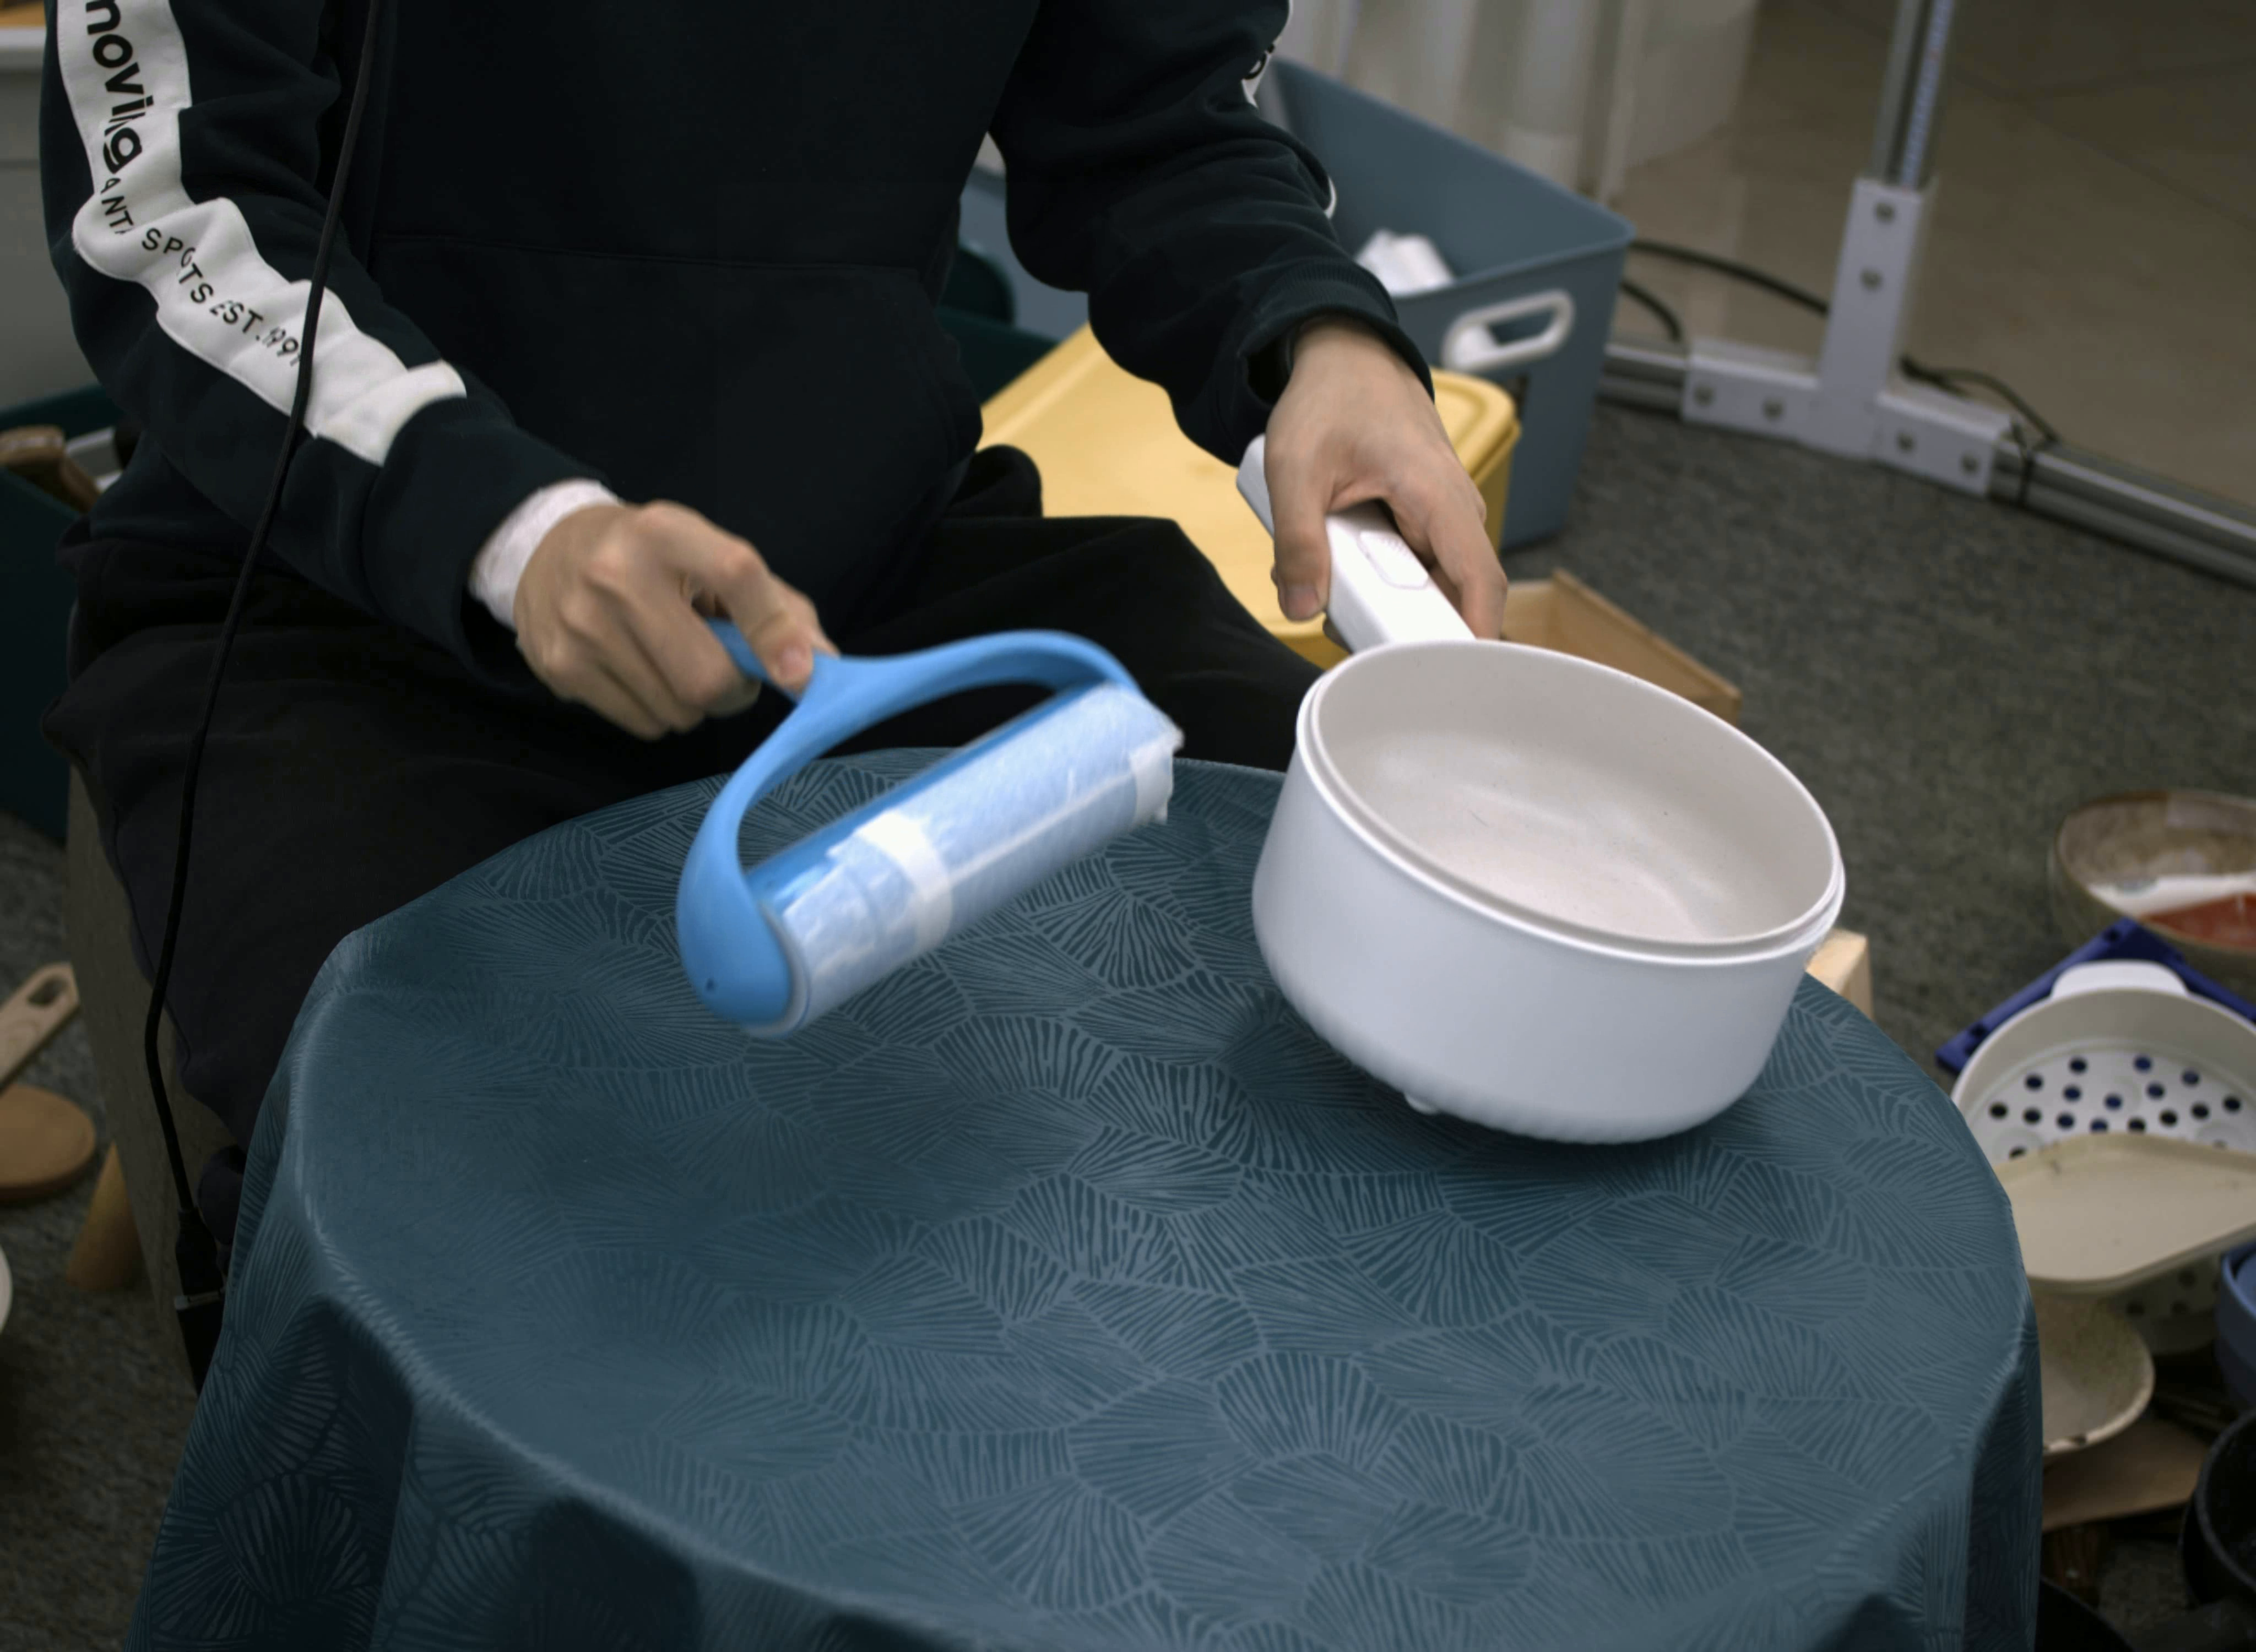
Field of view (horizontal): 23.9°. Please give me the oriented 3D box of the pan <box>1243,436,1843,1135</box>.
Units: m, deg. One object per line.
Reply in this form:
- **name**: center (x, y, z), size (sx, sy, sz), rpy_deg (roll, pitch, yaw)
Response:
- **pan**: center (0.115, -0.016, 1.940), size (0.199, 0.102, 0.358), rpy_deg (3, 31, -27)

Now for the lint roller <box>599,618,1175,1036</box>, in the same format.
- **lint roller**: center (-0.107, -0.028, 1.799), size (0.181, 0.068, 0.228), rpy_deg (37, 43, 17)
